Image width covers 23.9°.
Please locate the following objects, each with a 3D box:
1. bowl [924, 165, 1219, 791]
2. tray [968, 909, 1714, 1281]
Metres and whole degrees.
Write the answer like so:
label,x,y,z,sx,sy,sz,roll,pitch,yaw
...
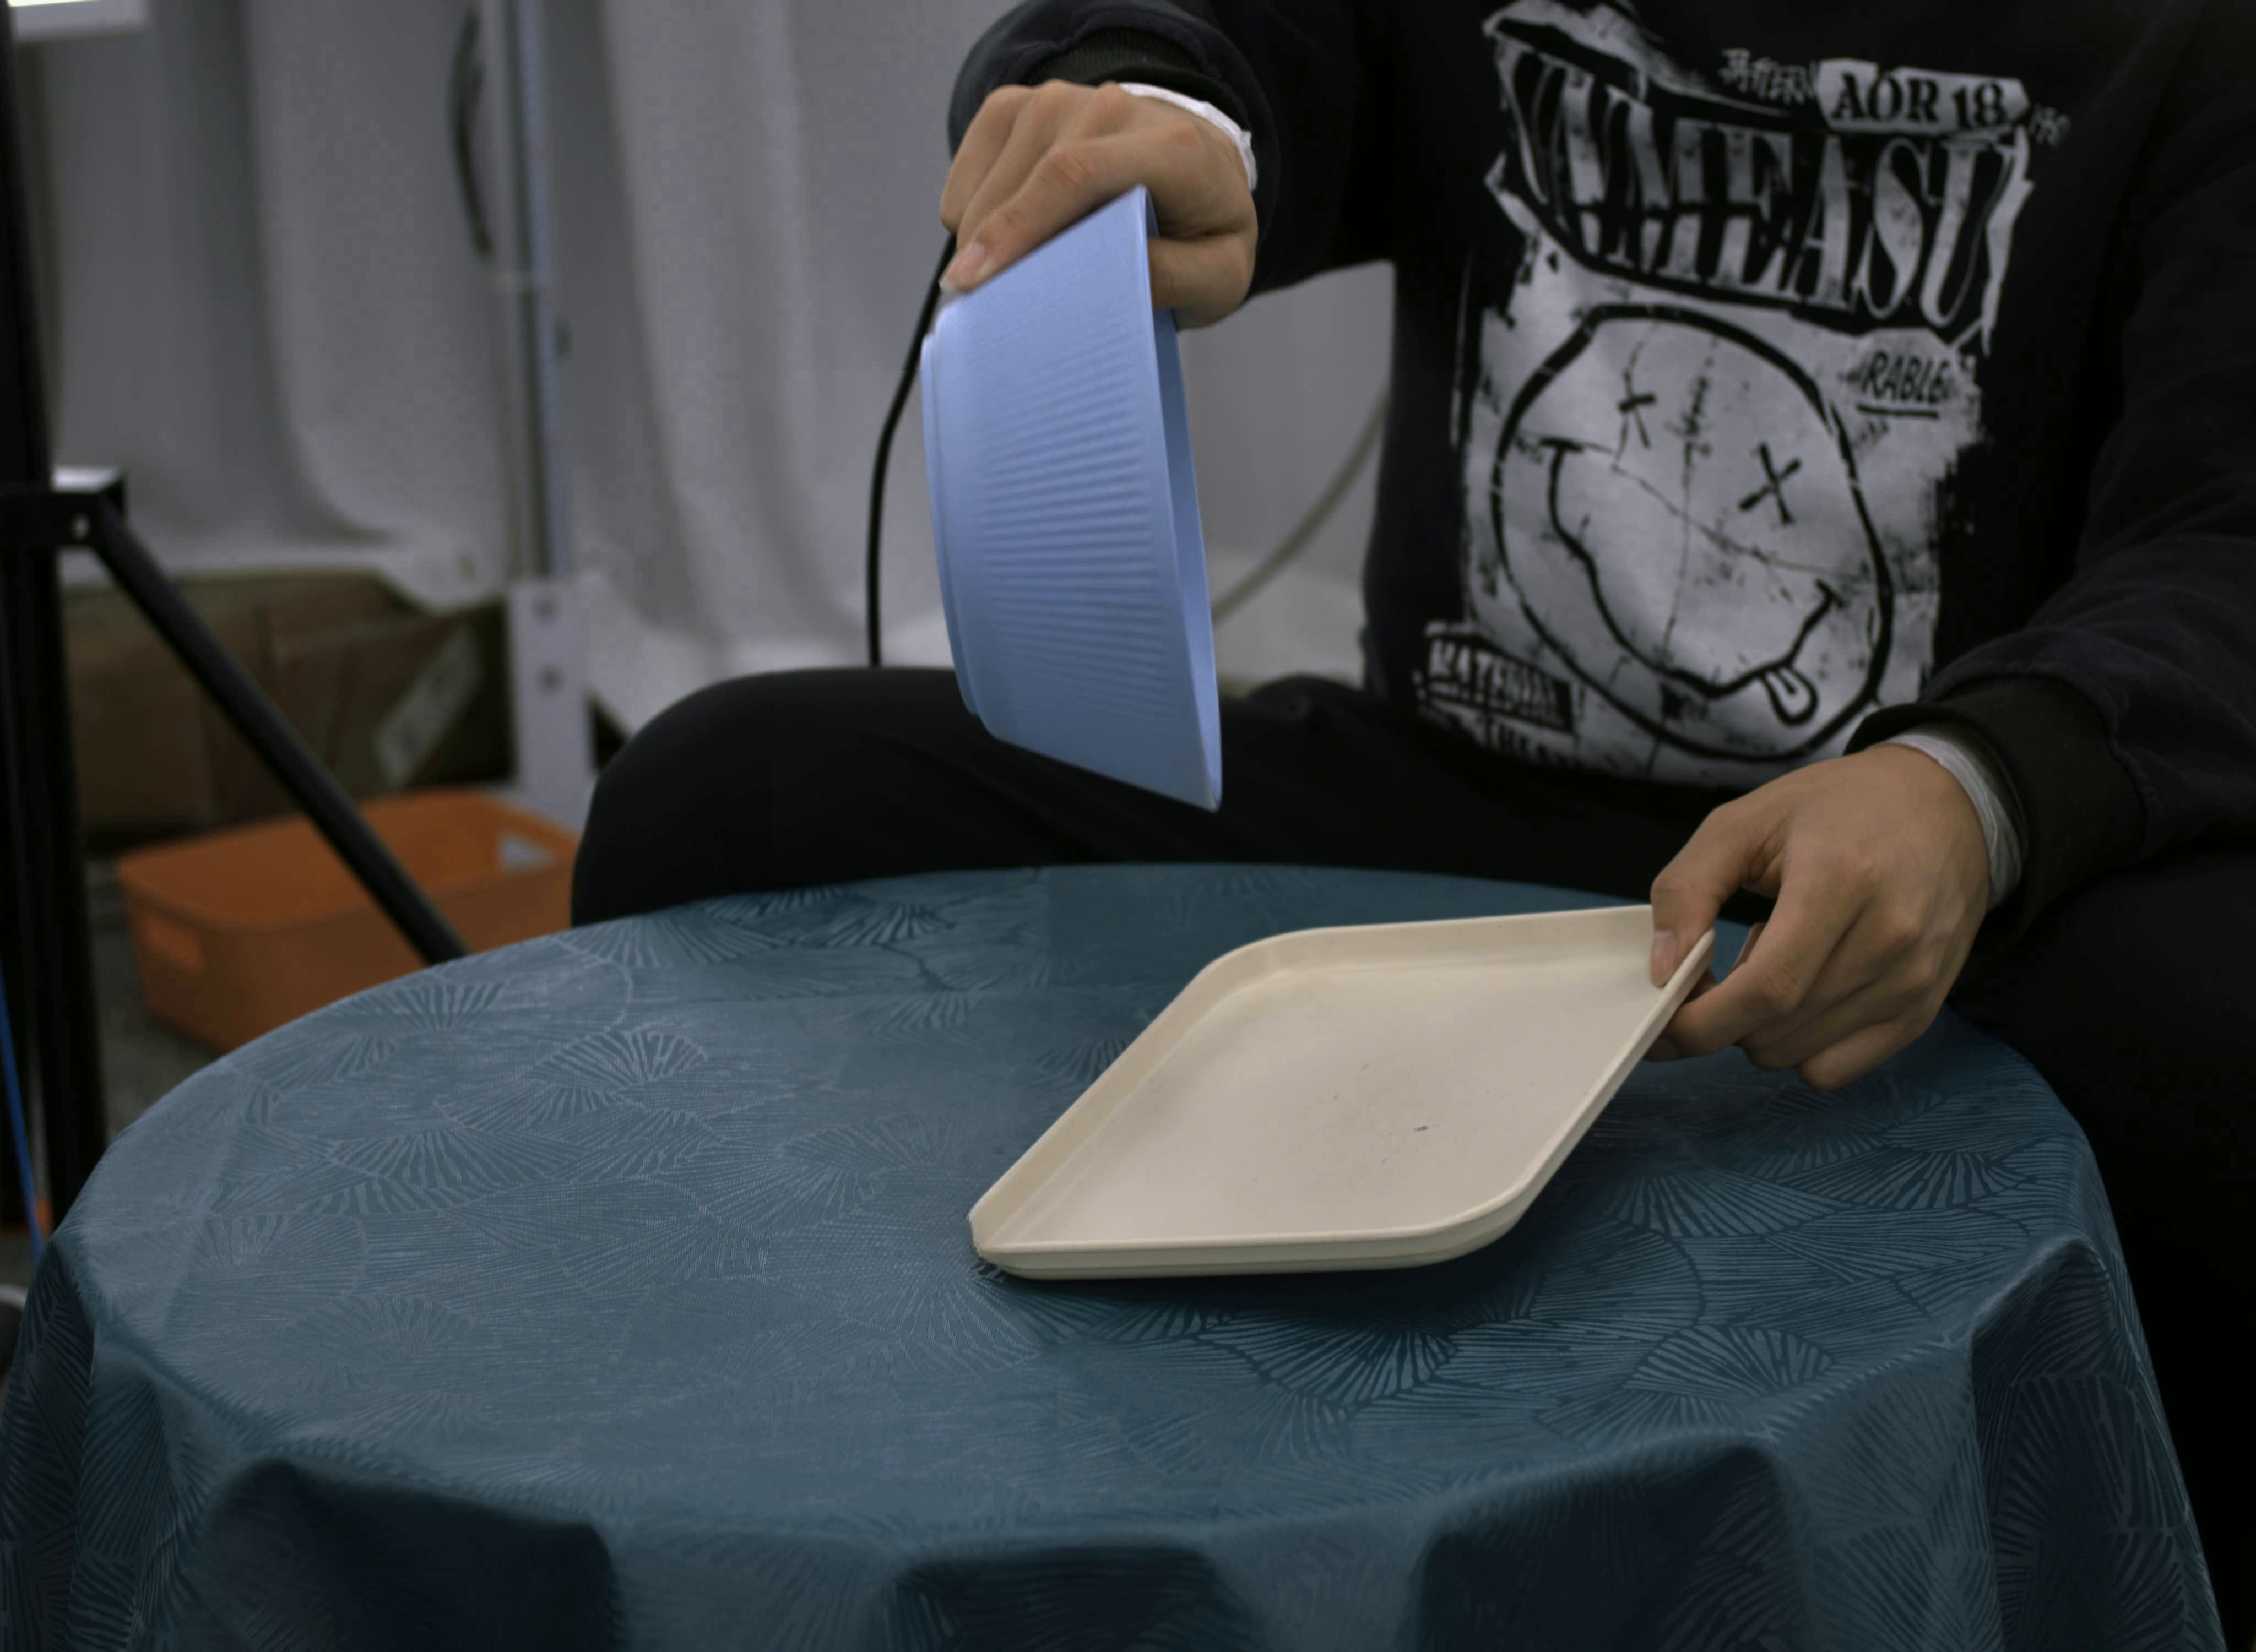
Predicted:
label,x,y,z,sx,sy,sz,roll,pitch,yaw
bowl,-0.016,-0.094,1.498,0.070,0.176,0.176,-7,15,4
tray,0.067,0.079,1.551,0.174,0.017,0.237,-4,20,26
